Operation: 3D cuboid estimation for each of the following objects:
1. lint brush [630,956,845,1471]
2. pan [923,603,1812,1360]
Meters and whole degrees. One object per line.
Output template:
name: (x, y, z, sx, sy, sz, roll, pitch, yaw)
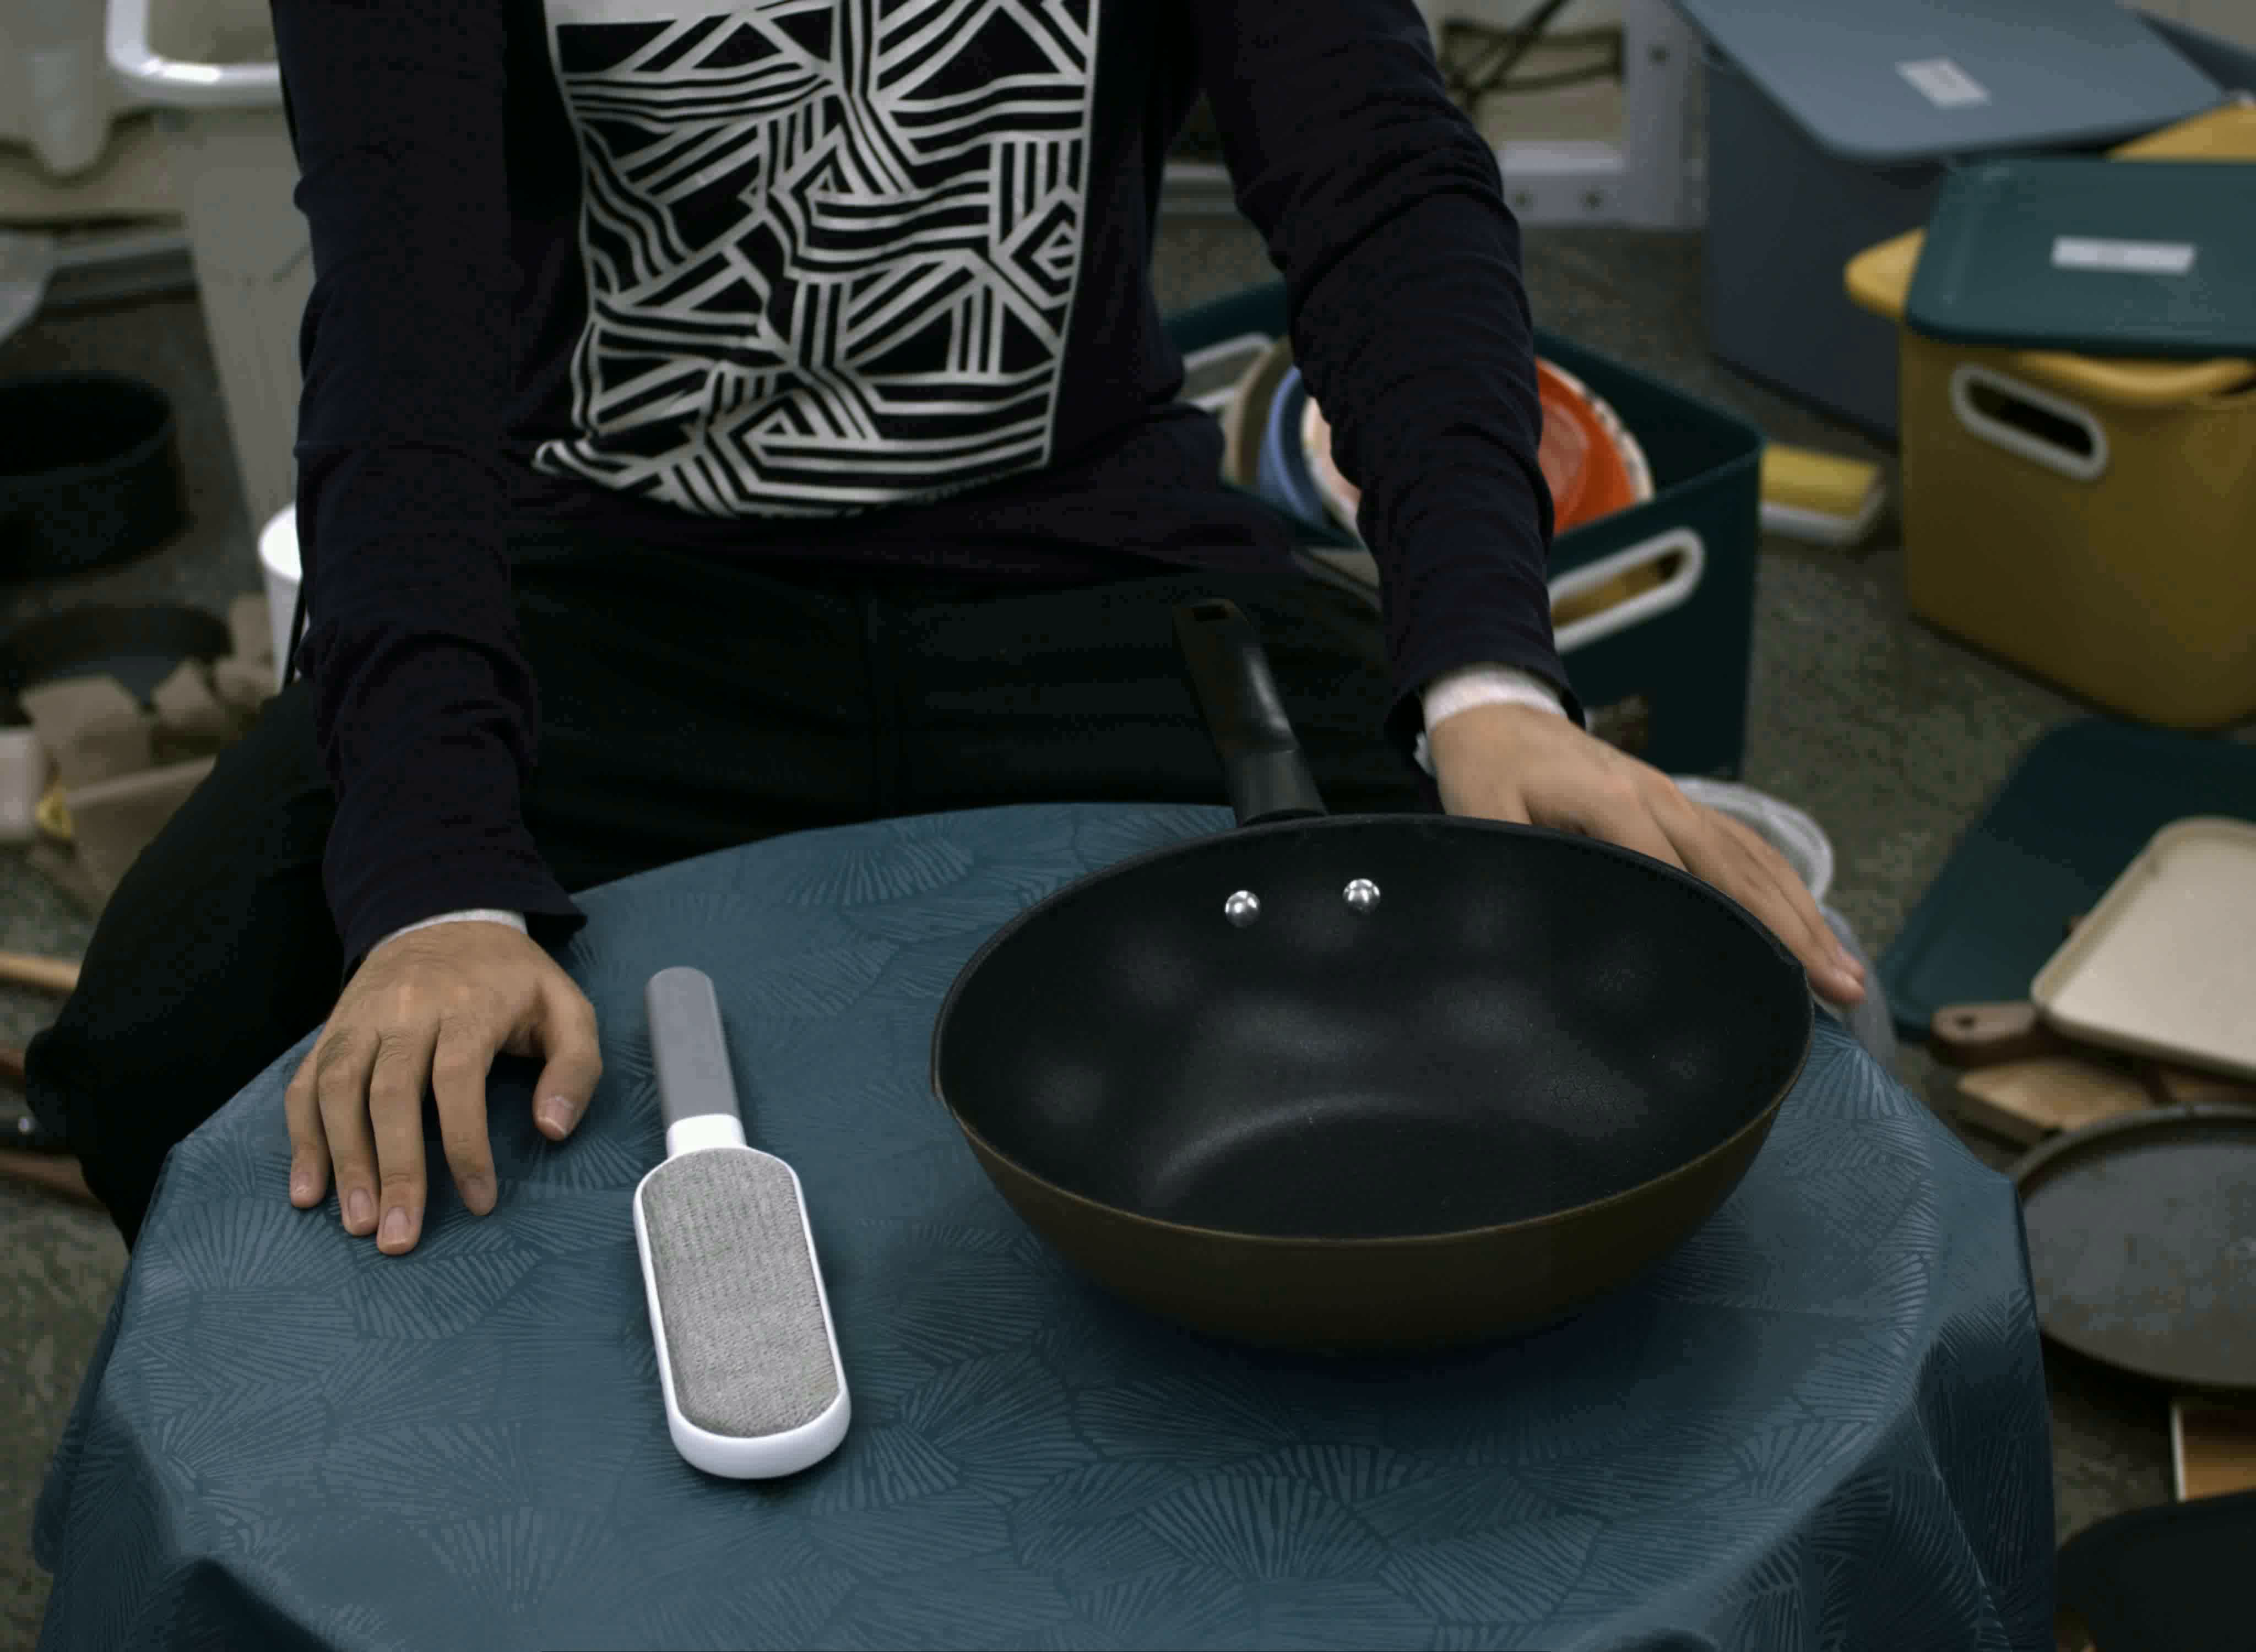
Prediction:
lint brush: (-0.134, 0.122, 1.843, 0.060, 0.021, 0.313, -11, 28, -4)
pan: (0.065, 0.054, 1.898, 0.287, 0.086, 0.469, -6, 27, -7)
